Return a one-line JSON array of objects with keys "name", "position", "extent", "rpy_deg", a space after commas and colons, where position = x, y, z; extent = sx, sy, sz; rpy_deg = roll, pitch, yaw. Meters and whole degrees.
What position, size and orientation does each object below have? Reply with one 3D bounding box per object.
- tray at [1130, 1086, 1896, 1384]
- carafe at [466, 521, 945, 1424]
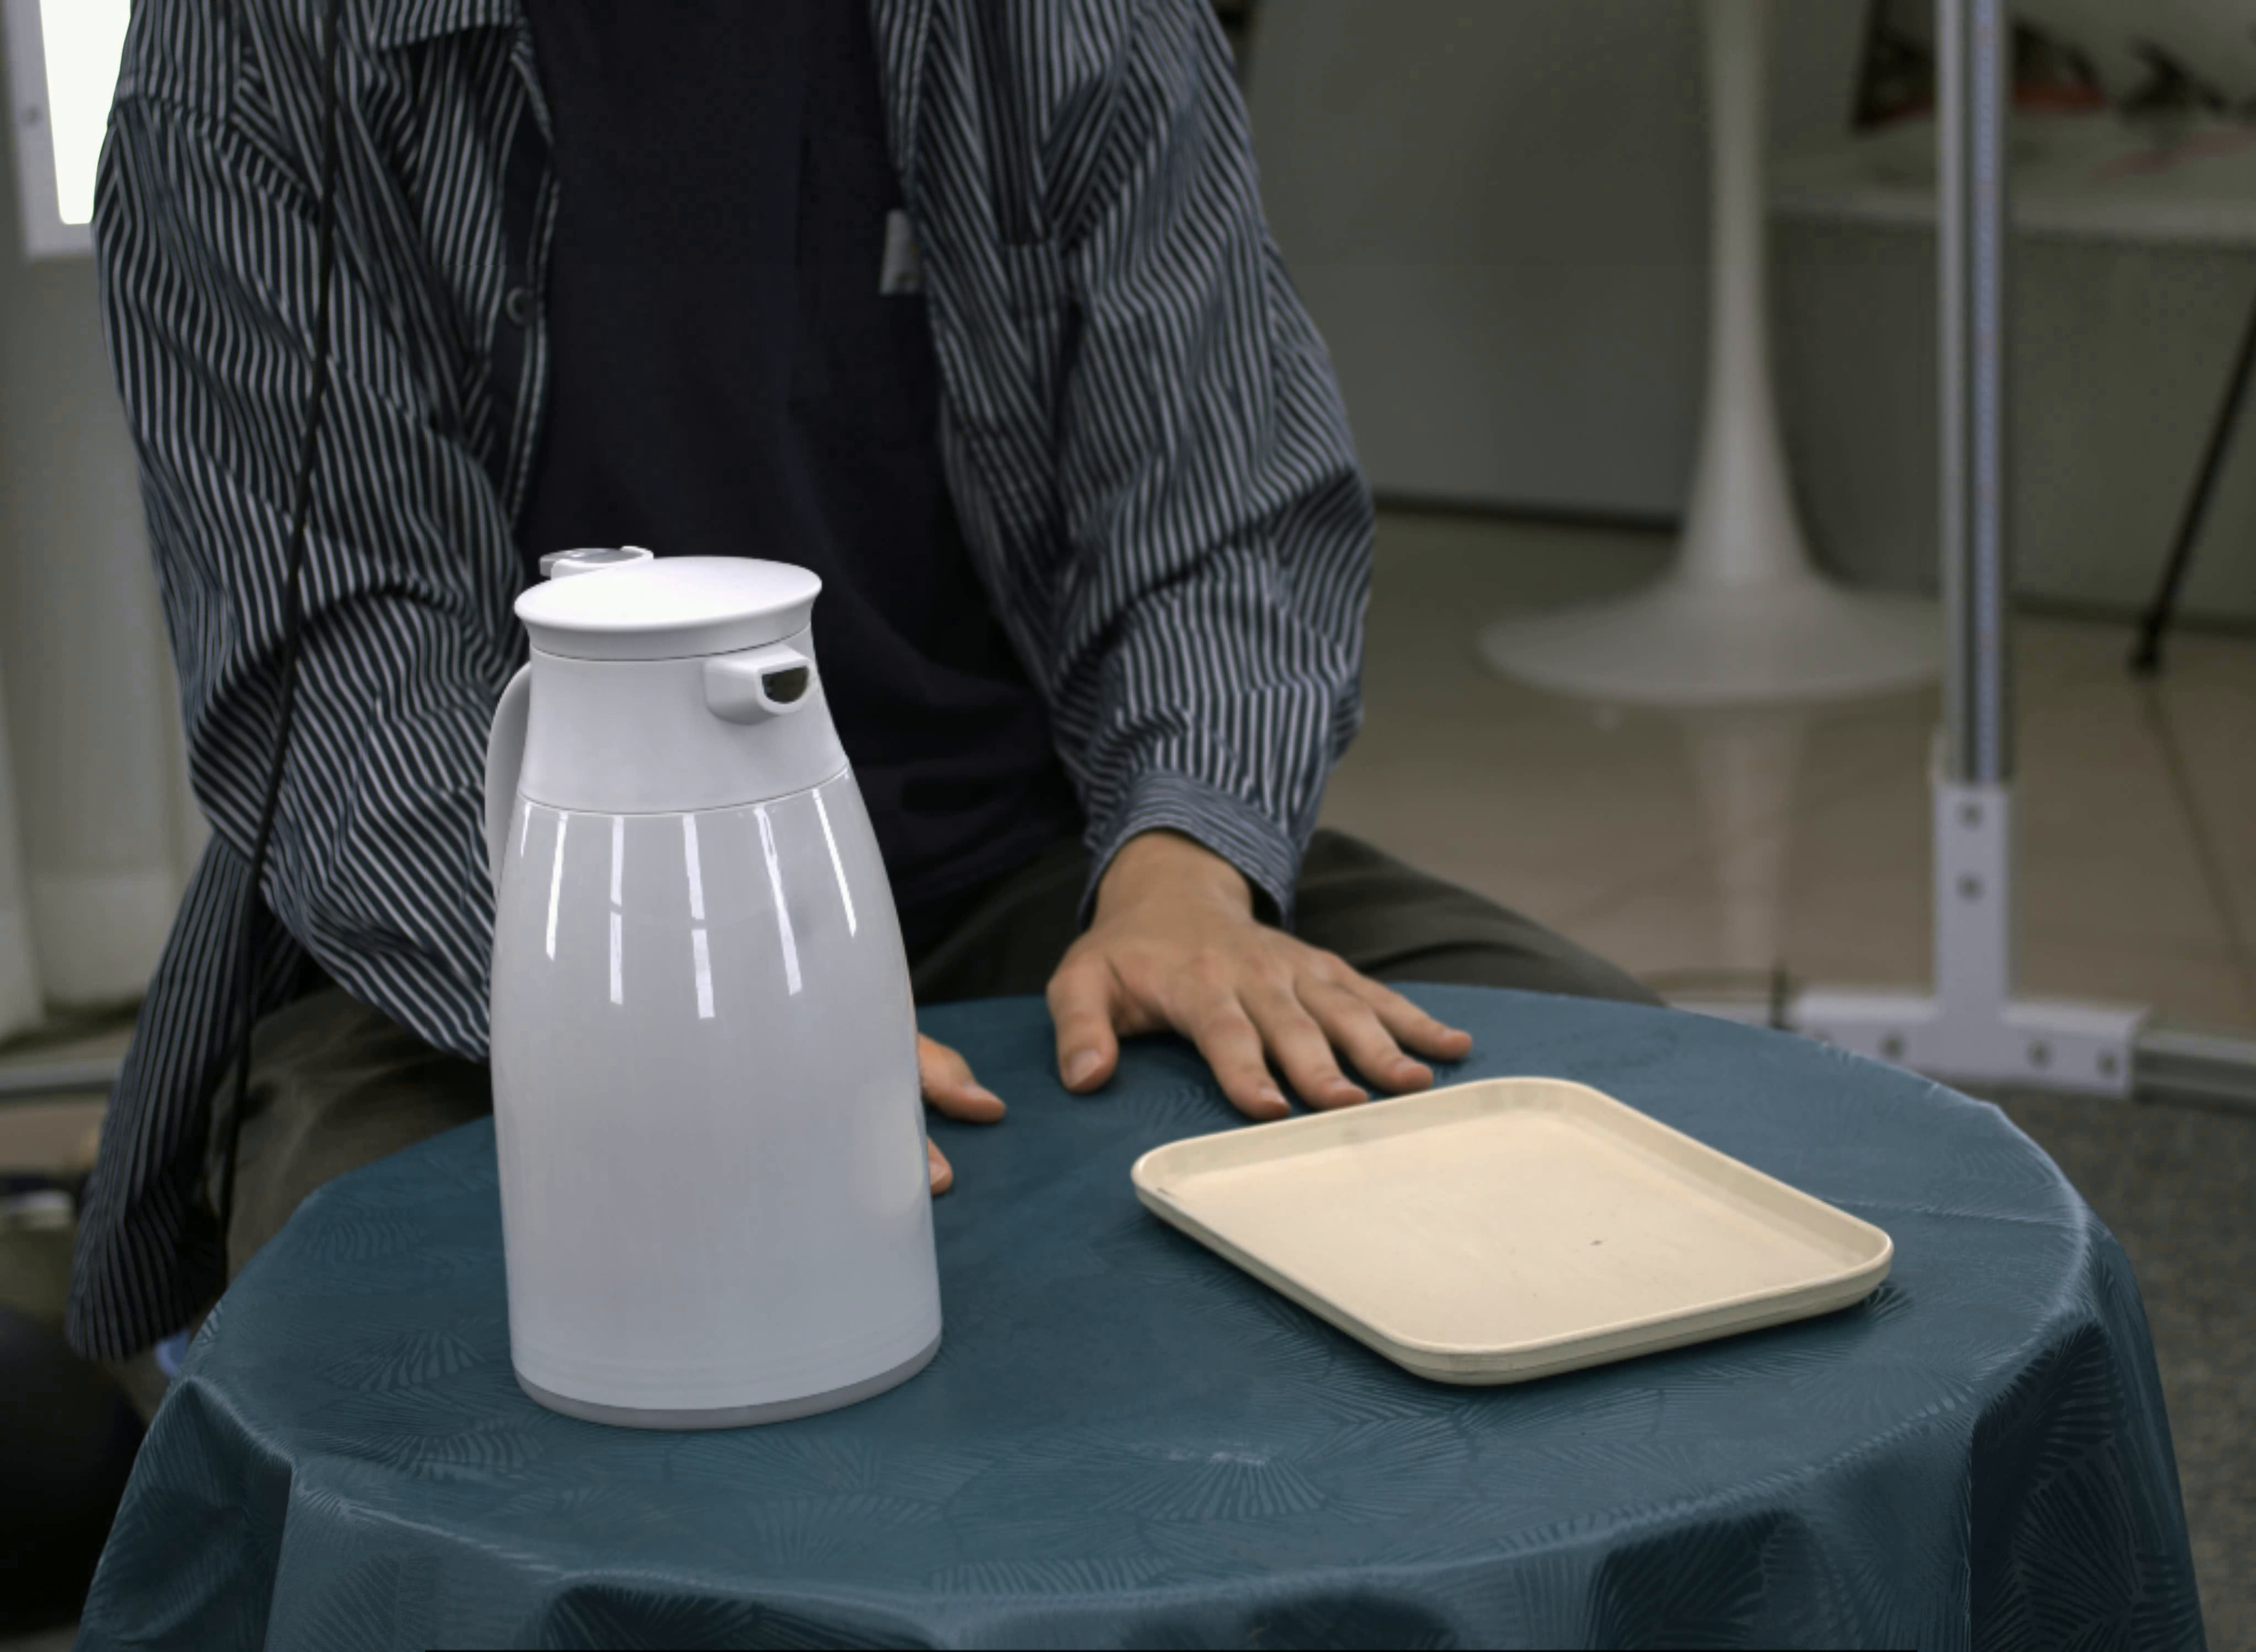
[{"name": "tray", "position": [0.116, 0.126, 1.678], "extent": [0.167, 0.017, 0.242], "rpy_deg": [-9, 14, -23]}, {"name": "carafe", "position": [-0.142, 0.036, 1.625], "extent": [0.130, 0.251, 0.169], "rpy_deg": [-15, 16, -38]}]
